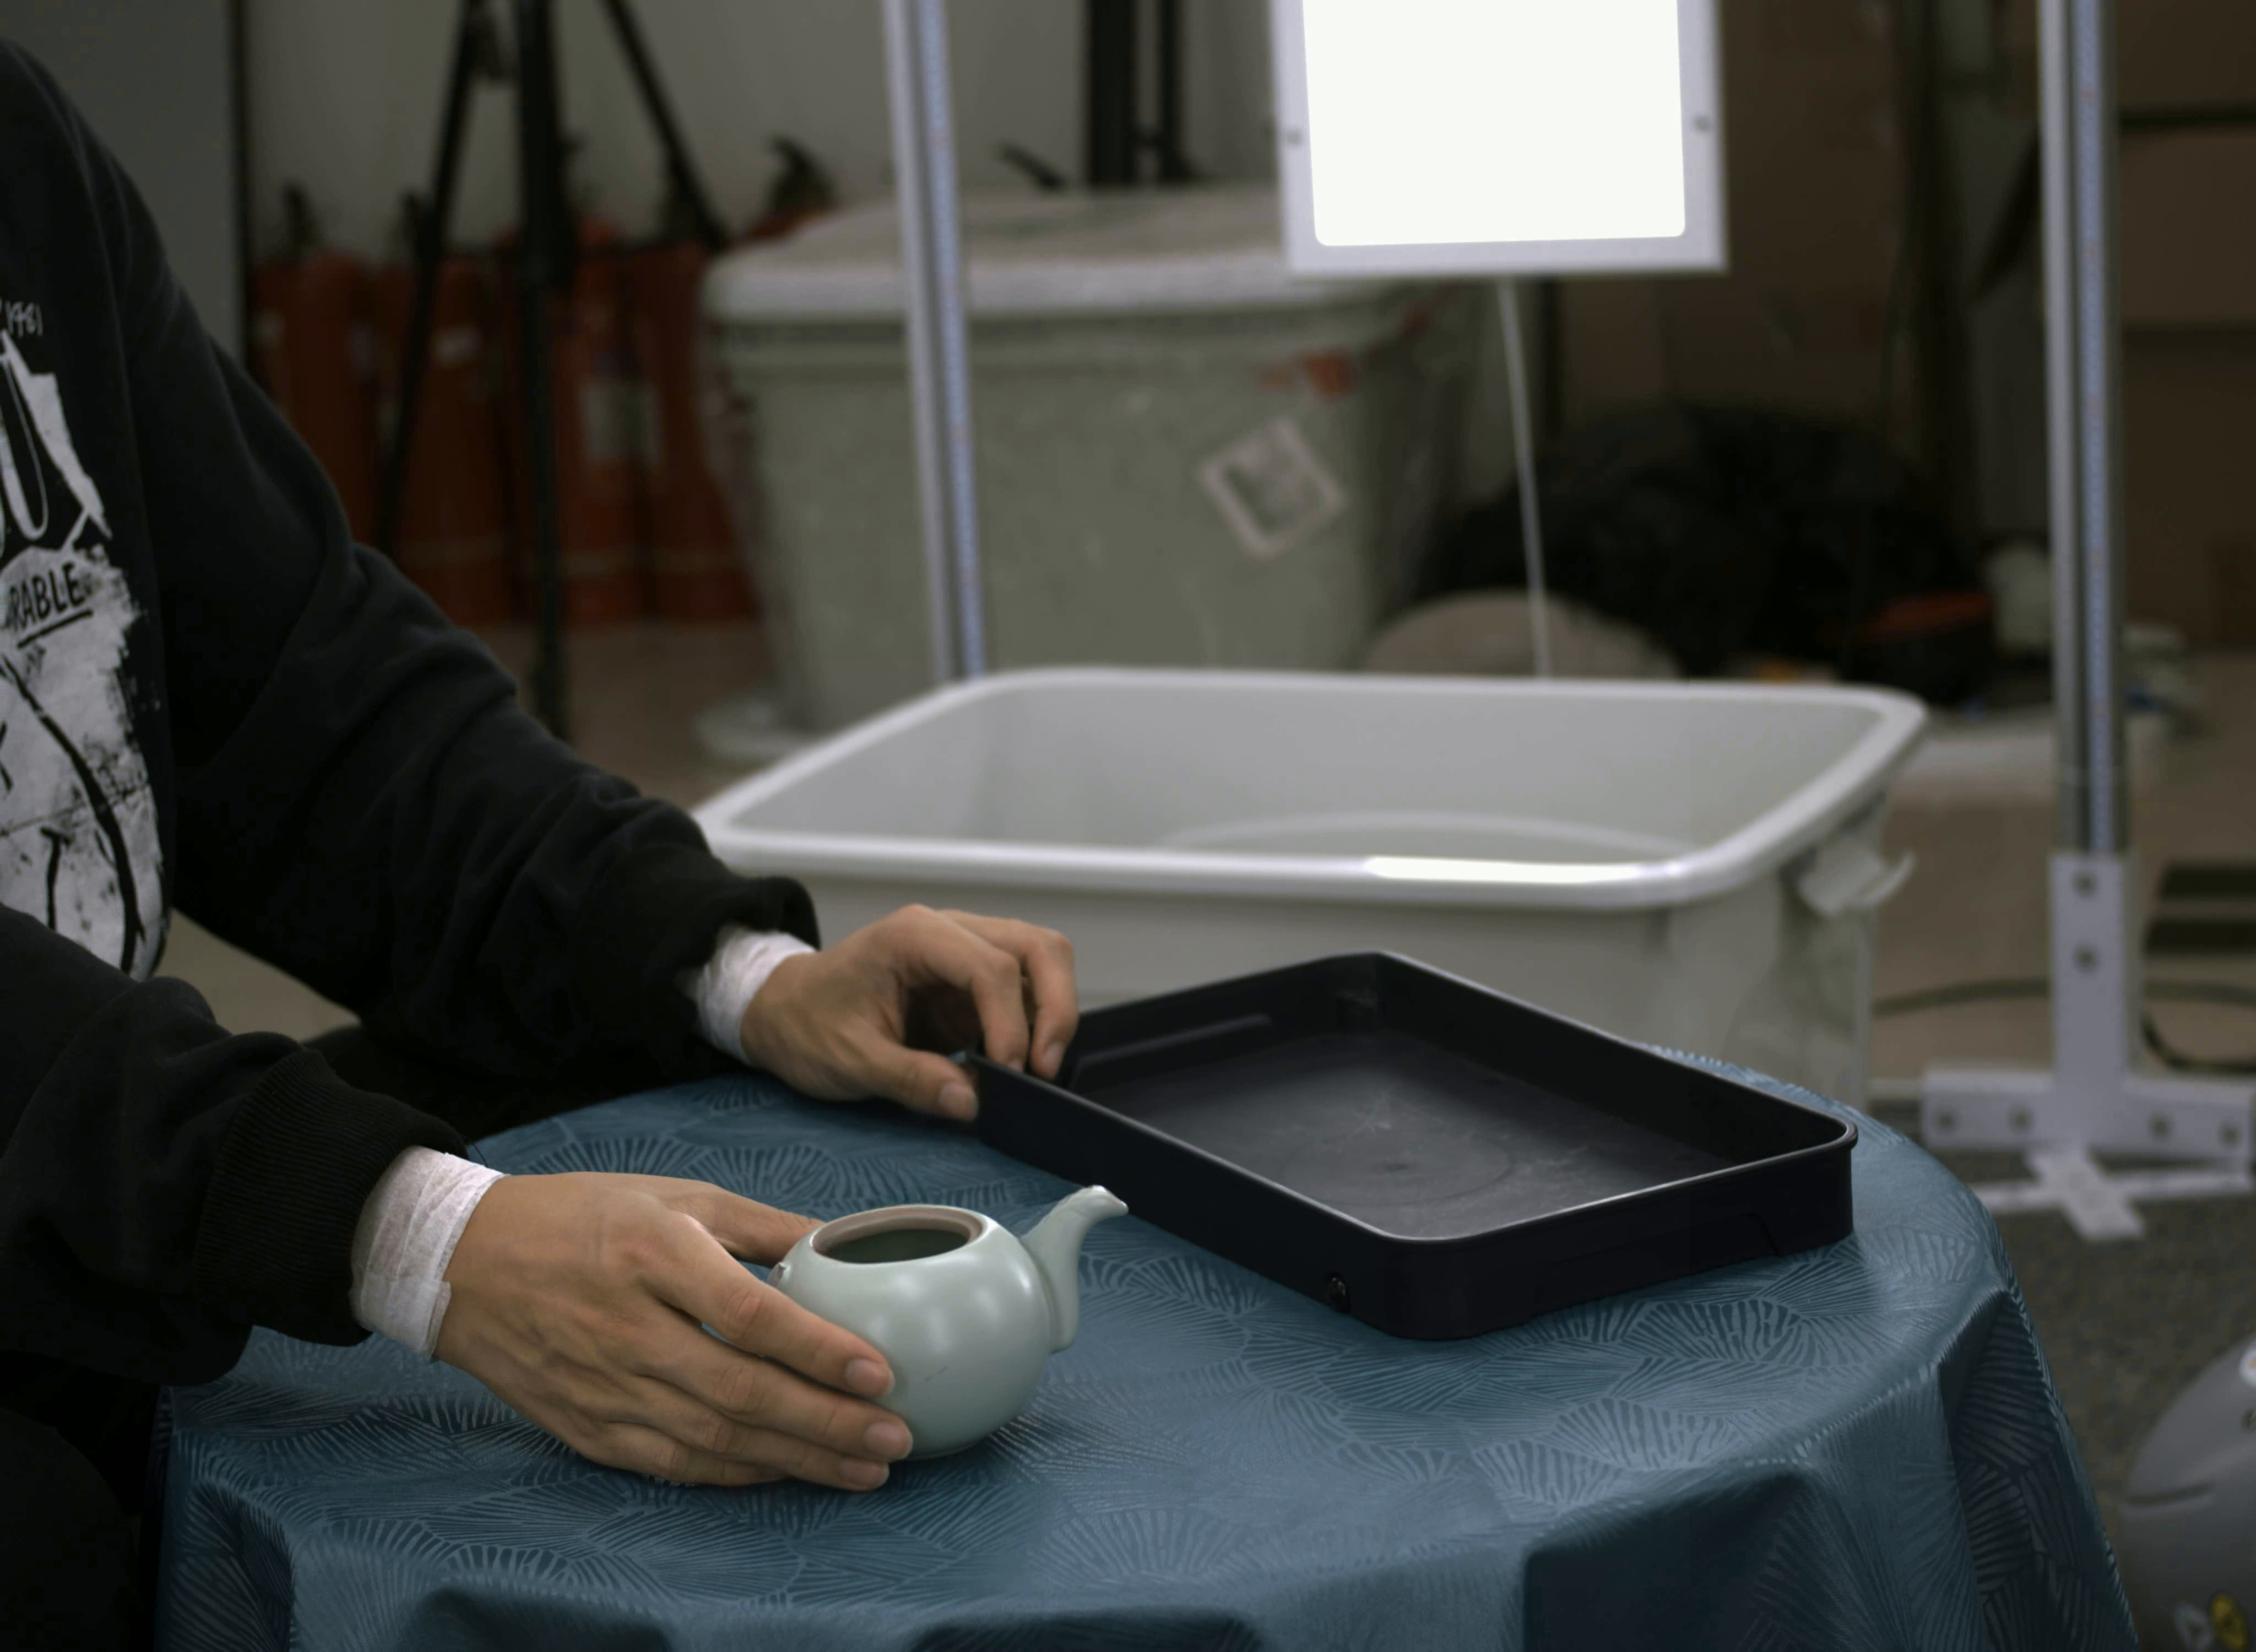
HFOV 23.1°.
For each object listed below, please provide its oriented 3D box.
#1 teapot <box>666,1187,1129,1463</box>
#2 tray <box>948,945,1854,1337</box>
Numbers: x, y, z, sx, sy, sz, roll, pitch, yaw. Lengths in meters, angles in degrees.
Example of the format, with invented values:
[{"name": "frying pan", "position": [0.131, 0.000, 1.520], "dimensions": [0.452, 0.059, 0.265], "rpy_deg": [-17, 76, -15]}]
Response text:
[{"name": "teapot", "position": [-0.068, 0.152, 1.670], "dimensions": [0.142, 0.075, 0.089], "rpy_deg": [-5, 13, -8]}, {"name": "tray", "position": [0.089, 0.103, 1.887], "dimensions": [0.180, 0.037, 0.324], "rpy_deg": [-13, 16, -28]}]
